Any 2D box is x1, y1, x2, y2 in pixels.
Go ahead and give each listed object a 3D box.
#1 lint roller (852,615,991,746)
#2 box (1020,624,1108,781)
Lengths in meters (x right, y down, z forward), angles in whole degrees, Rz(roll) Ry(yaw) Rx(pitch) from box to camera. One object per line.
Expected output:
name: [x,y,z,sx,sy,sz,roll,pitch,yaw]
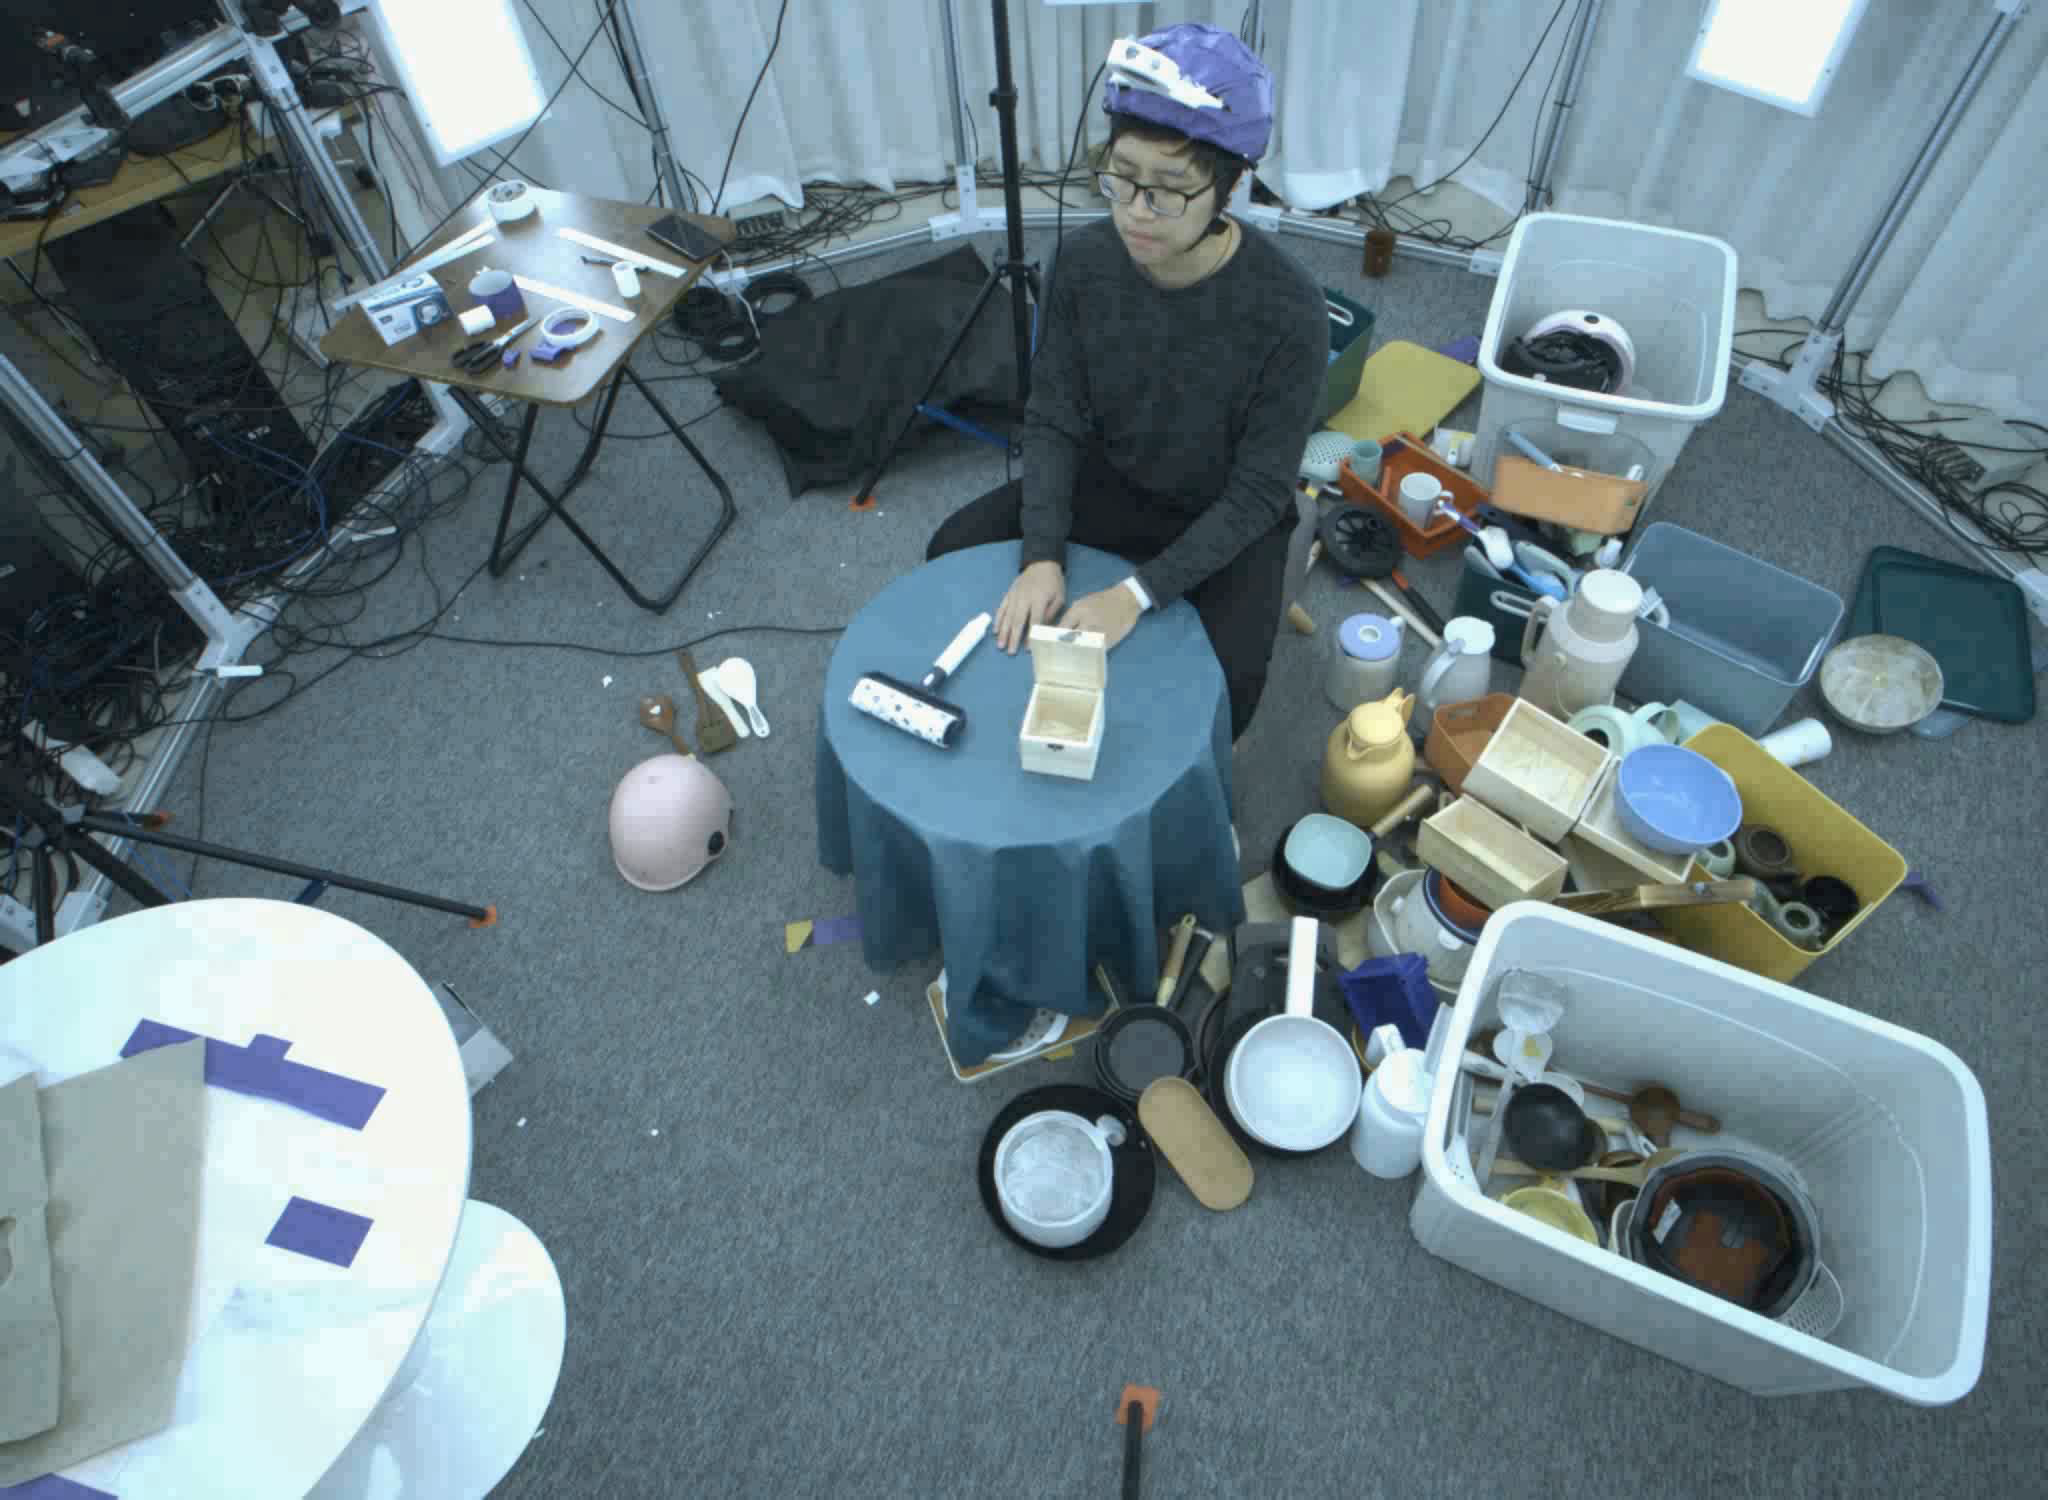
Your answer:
lint roller: [-0.124,-0.127,1.856,0.174,0.051,0.248,24,58,19]
box: [0.055,-0.064,1.718,0.102,0.186,0.133,8,55,10]
